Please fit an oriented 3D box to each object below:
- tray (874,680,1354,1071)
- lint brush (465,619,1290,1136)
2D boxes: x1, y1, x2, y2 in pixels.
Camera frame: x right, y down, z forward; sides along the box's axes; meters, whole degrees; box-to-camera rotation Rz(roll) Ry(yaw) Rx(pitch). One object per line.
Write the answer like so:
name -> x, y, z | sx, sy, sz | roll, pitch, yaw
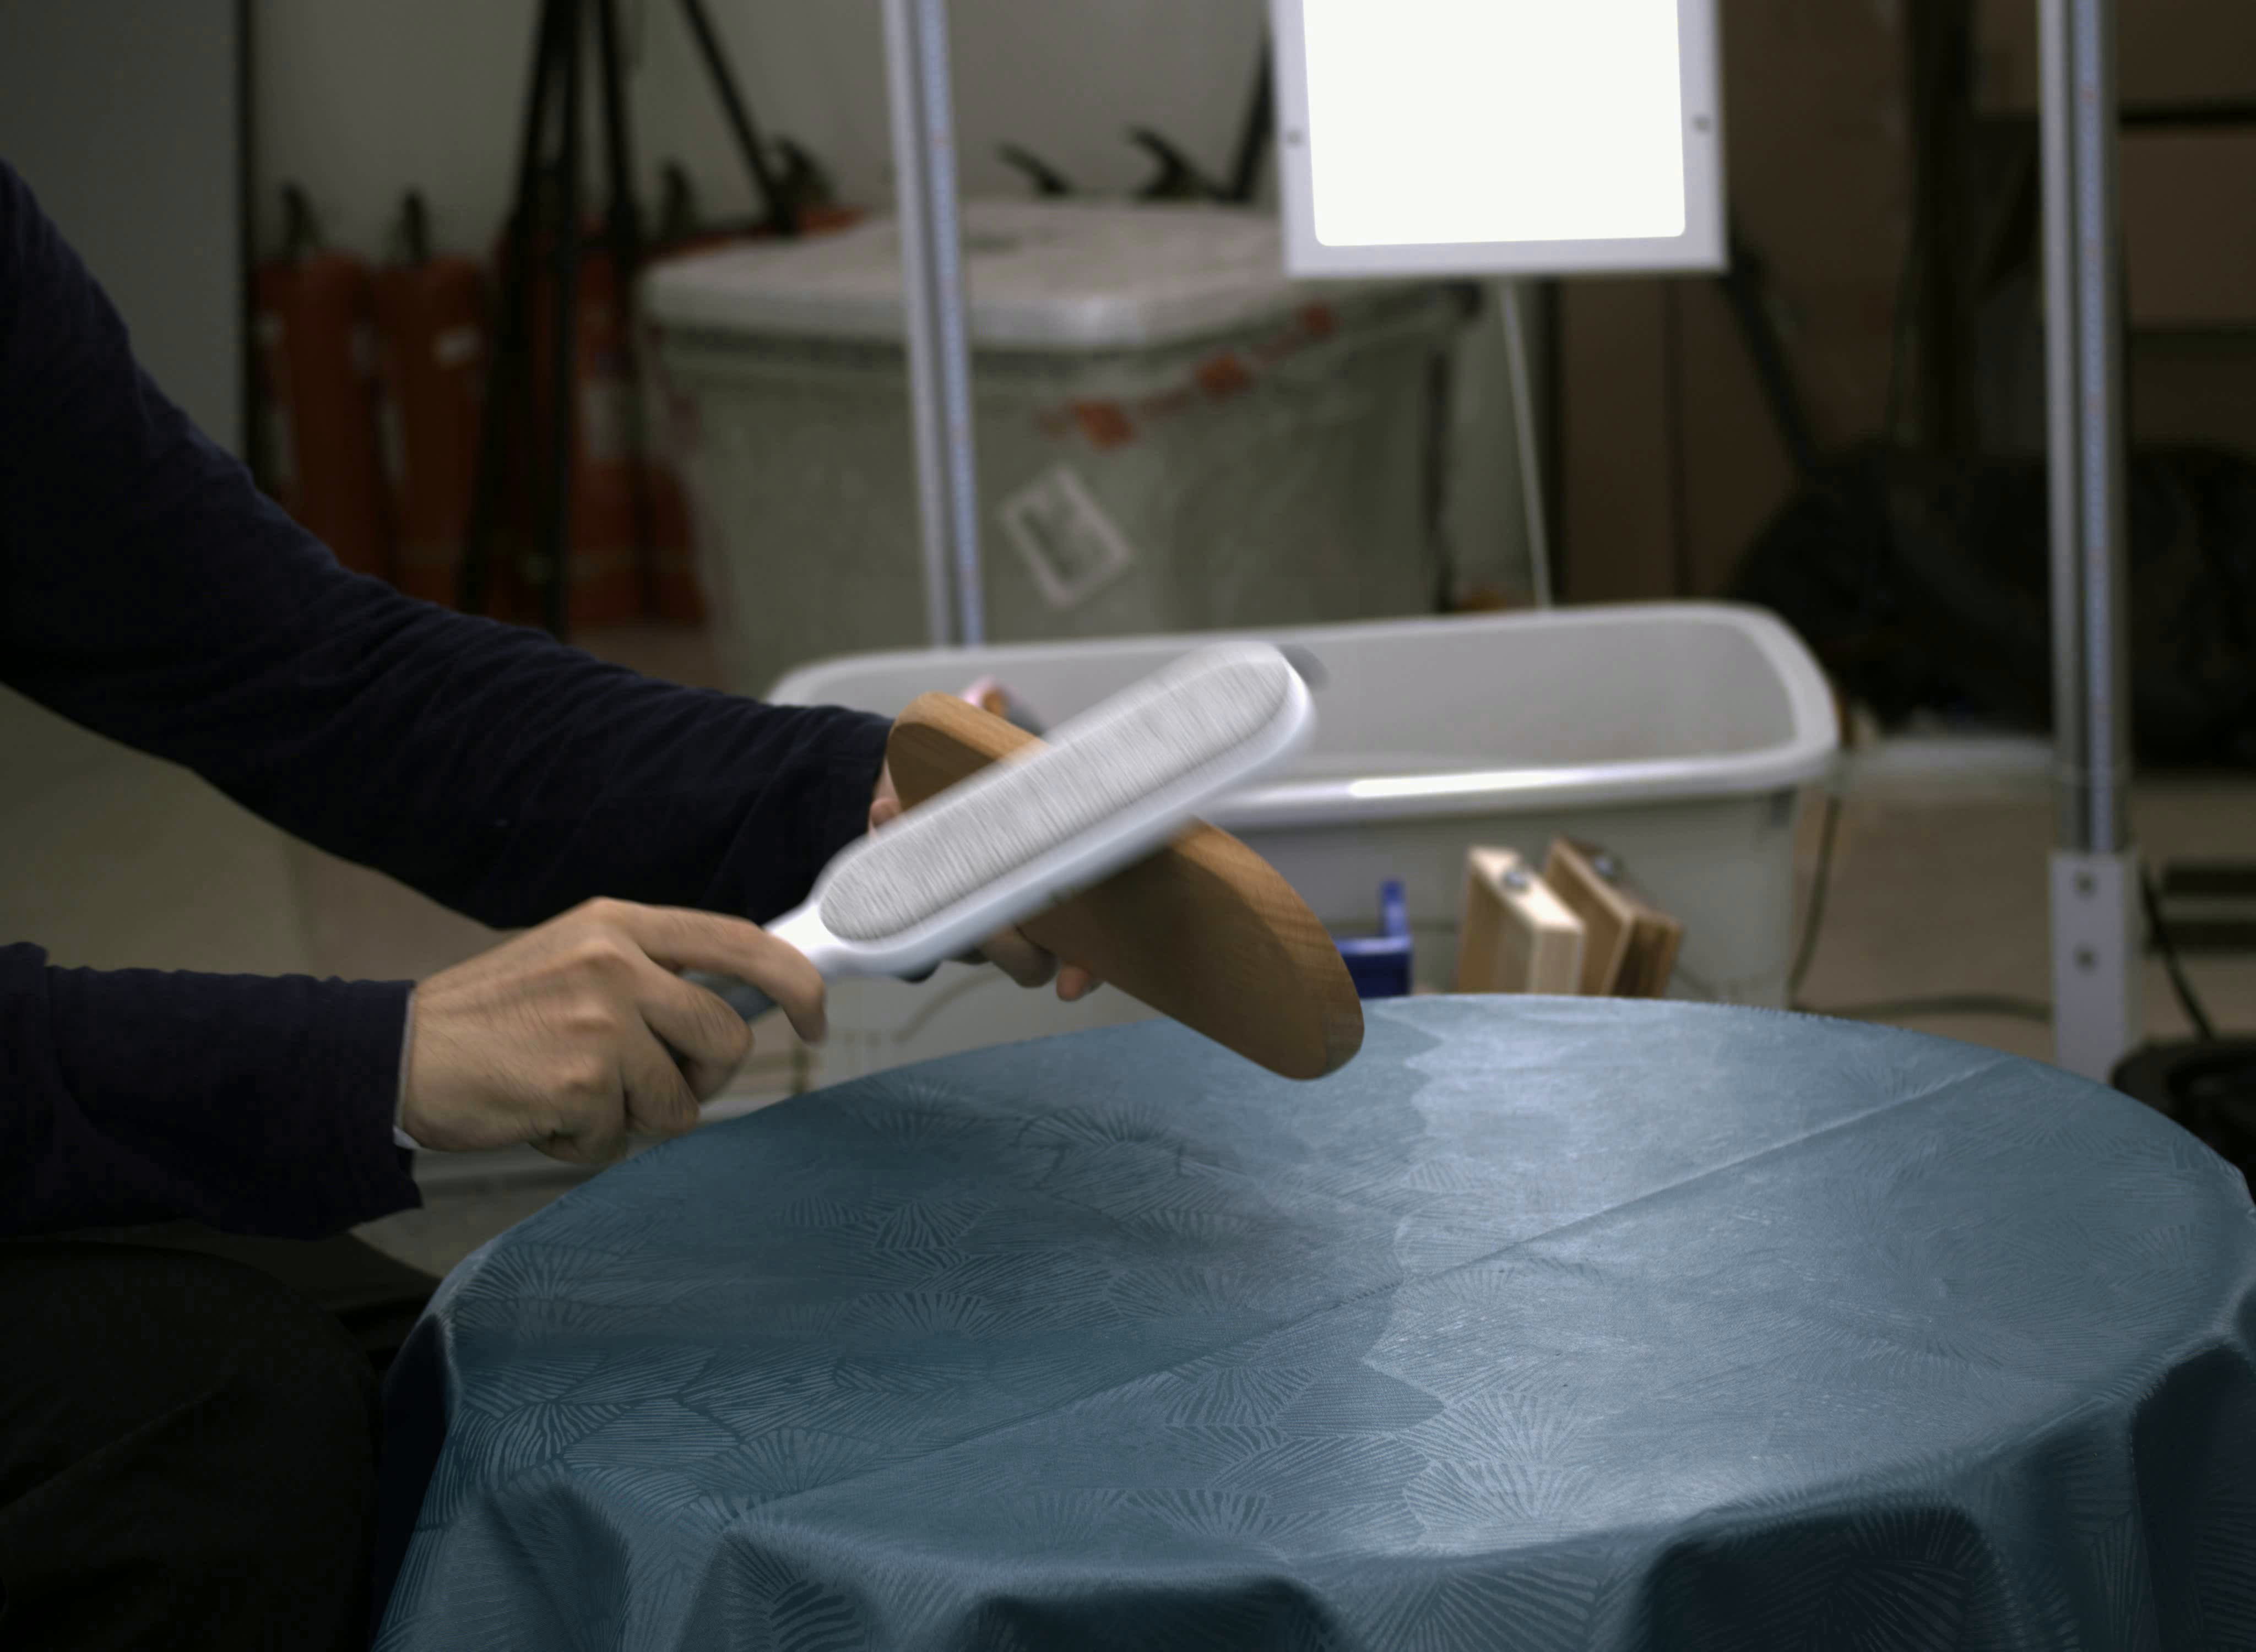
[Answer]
tray -> -0.008, 0.017, 1.866 | 0.020, 0.101, 0.235 | -37, 40, -26
lint brush -> -0.083, 0.018, 1.814 | 0.308, 0.021, 0.060 | -30, 46, -1
